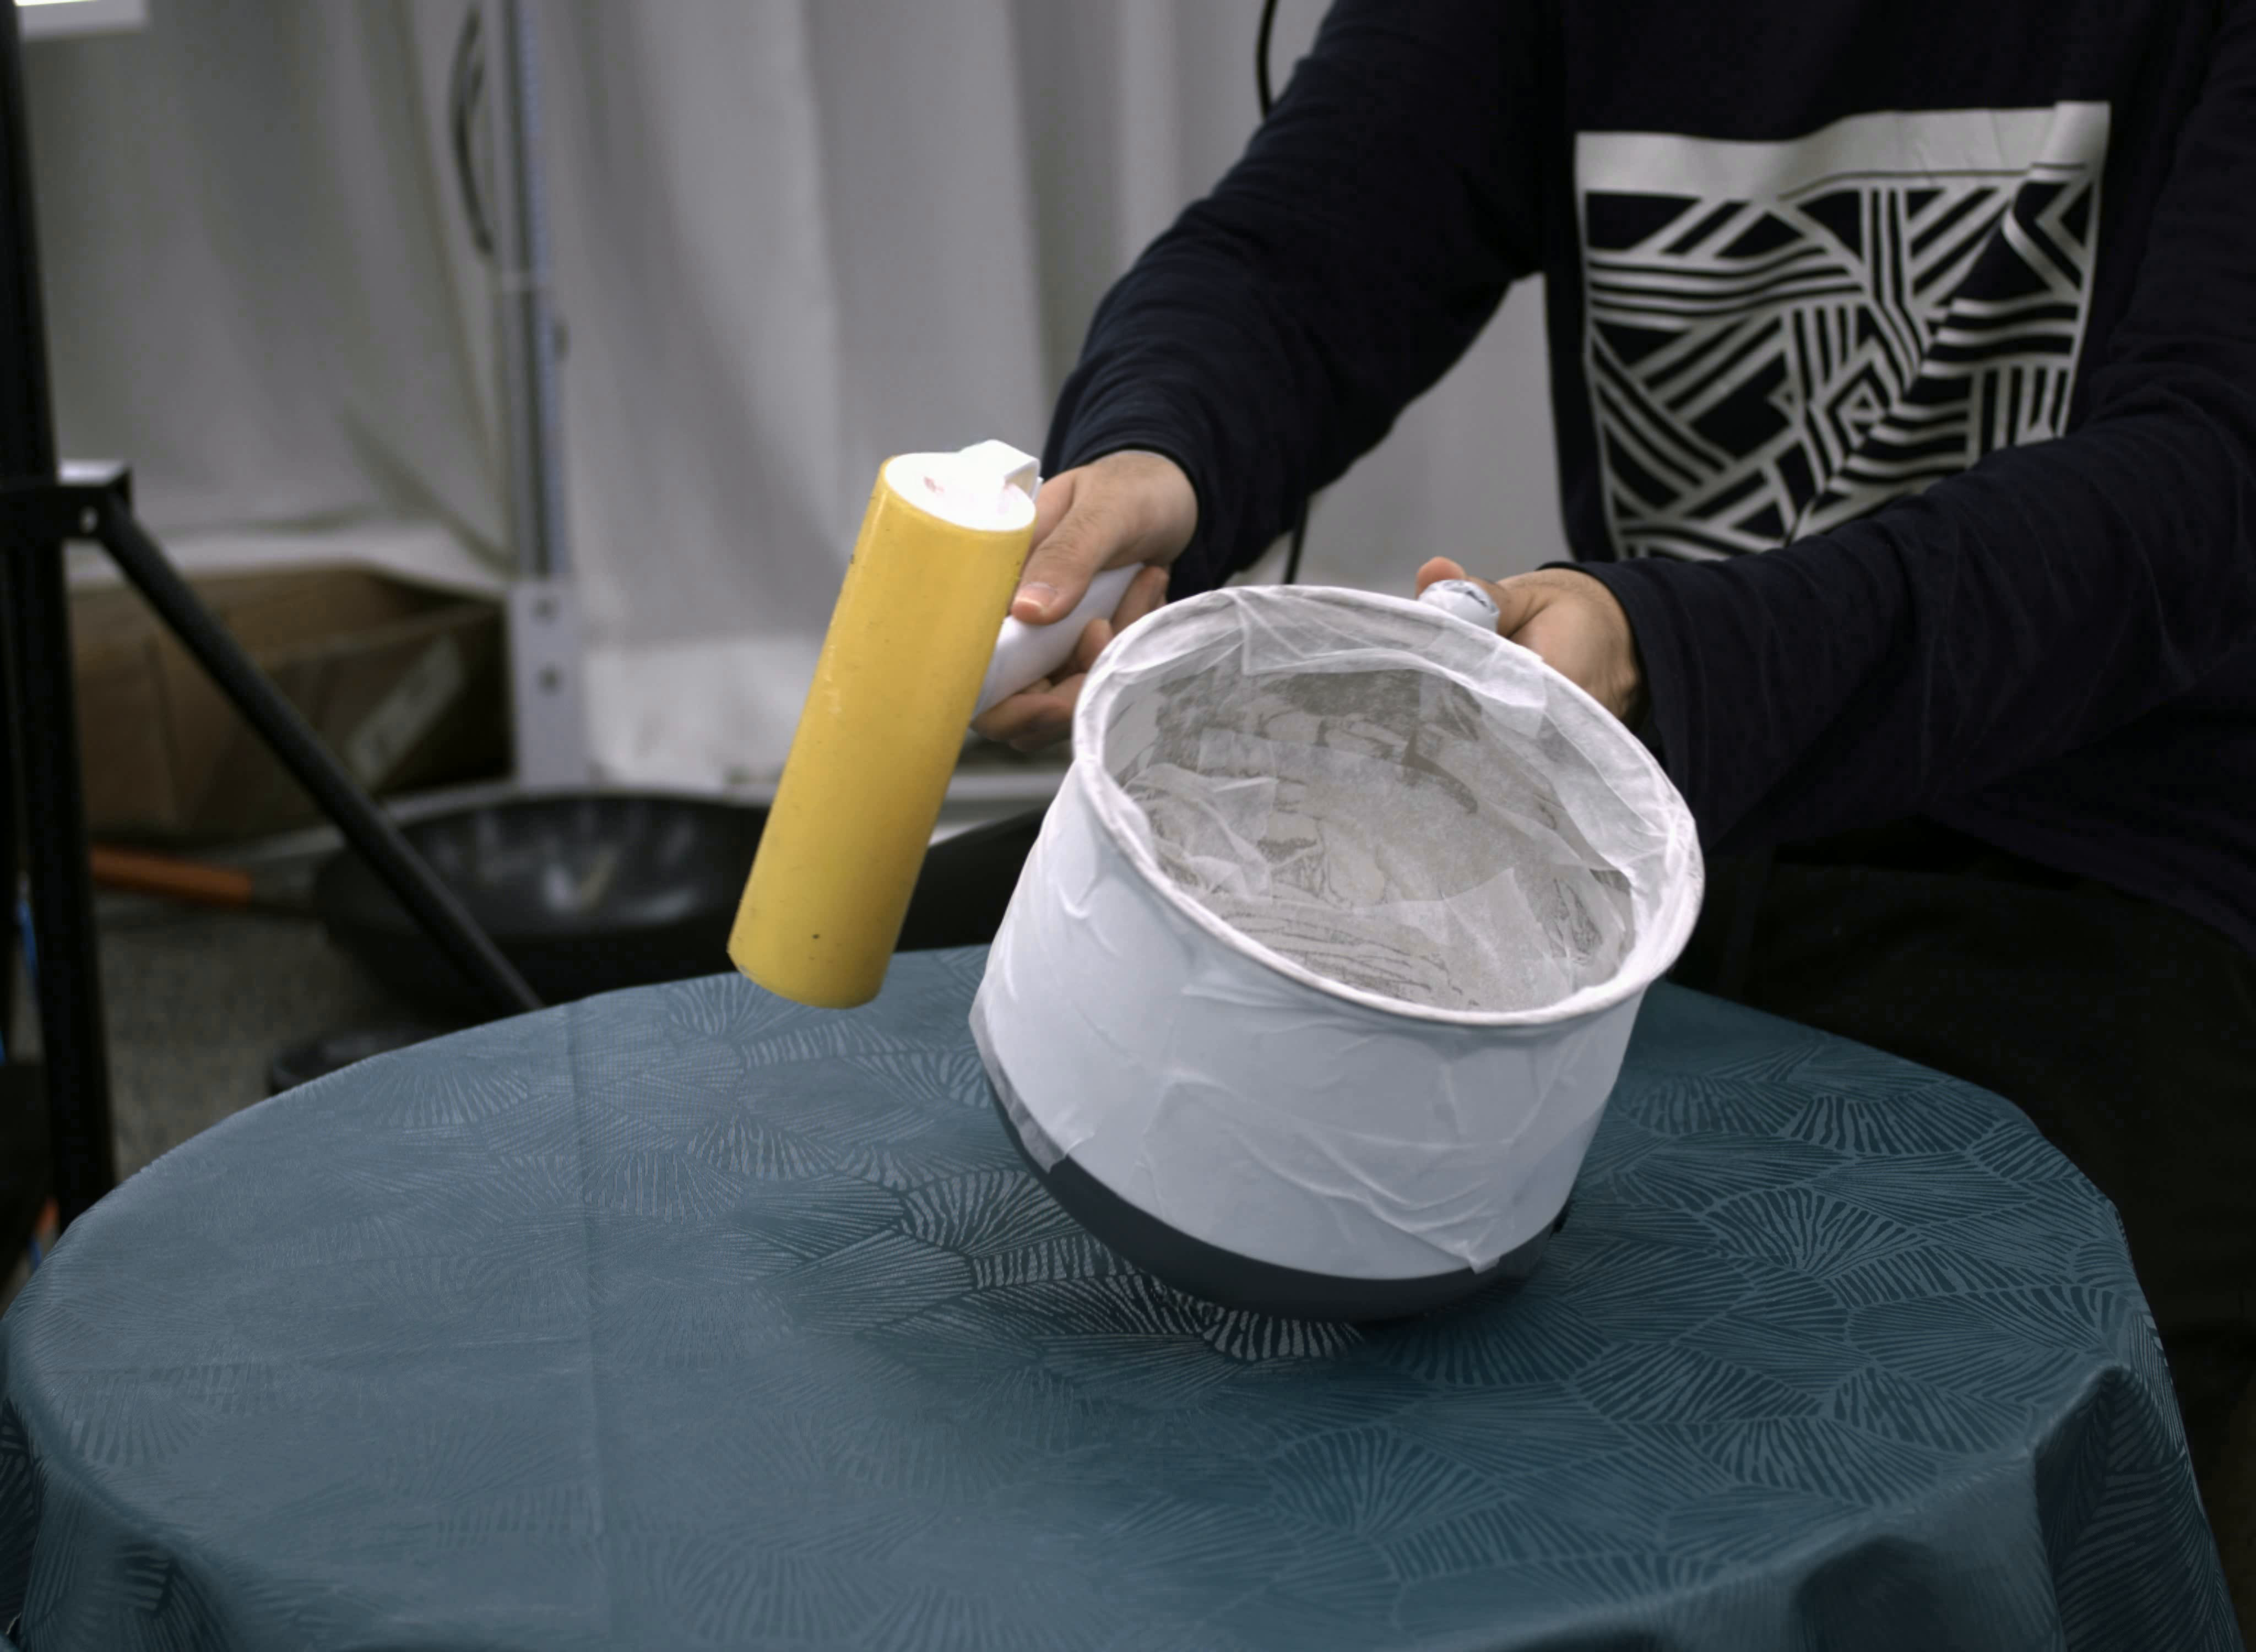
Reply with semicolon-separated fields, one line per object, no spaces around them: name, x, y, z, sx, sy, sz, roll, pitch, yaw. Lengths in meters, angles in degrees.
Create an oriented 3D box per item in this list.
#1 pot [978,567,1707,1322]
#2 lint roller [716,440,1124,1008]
pot;0.060;0.021;1.477;0.178;0.137;0.233;21;39;2
lint roller;-0.051;-0.049;1.603;0.051;0.175;0.190;25;24;8
